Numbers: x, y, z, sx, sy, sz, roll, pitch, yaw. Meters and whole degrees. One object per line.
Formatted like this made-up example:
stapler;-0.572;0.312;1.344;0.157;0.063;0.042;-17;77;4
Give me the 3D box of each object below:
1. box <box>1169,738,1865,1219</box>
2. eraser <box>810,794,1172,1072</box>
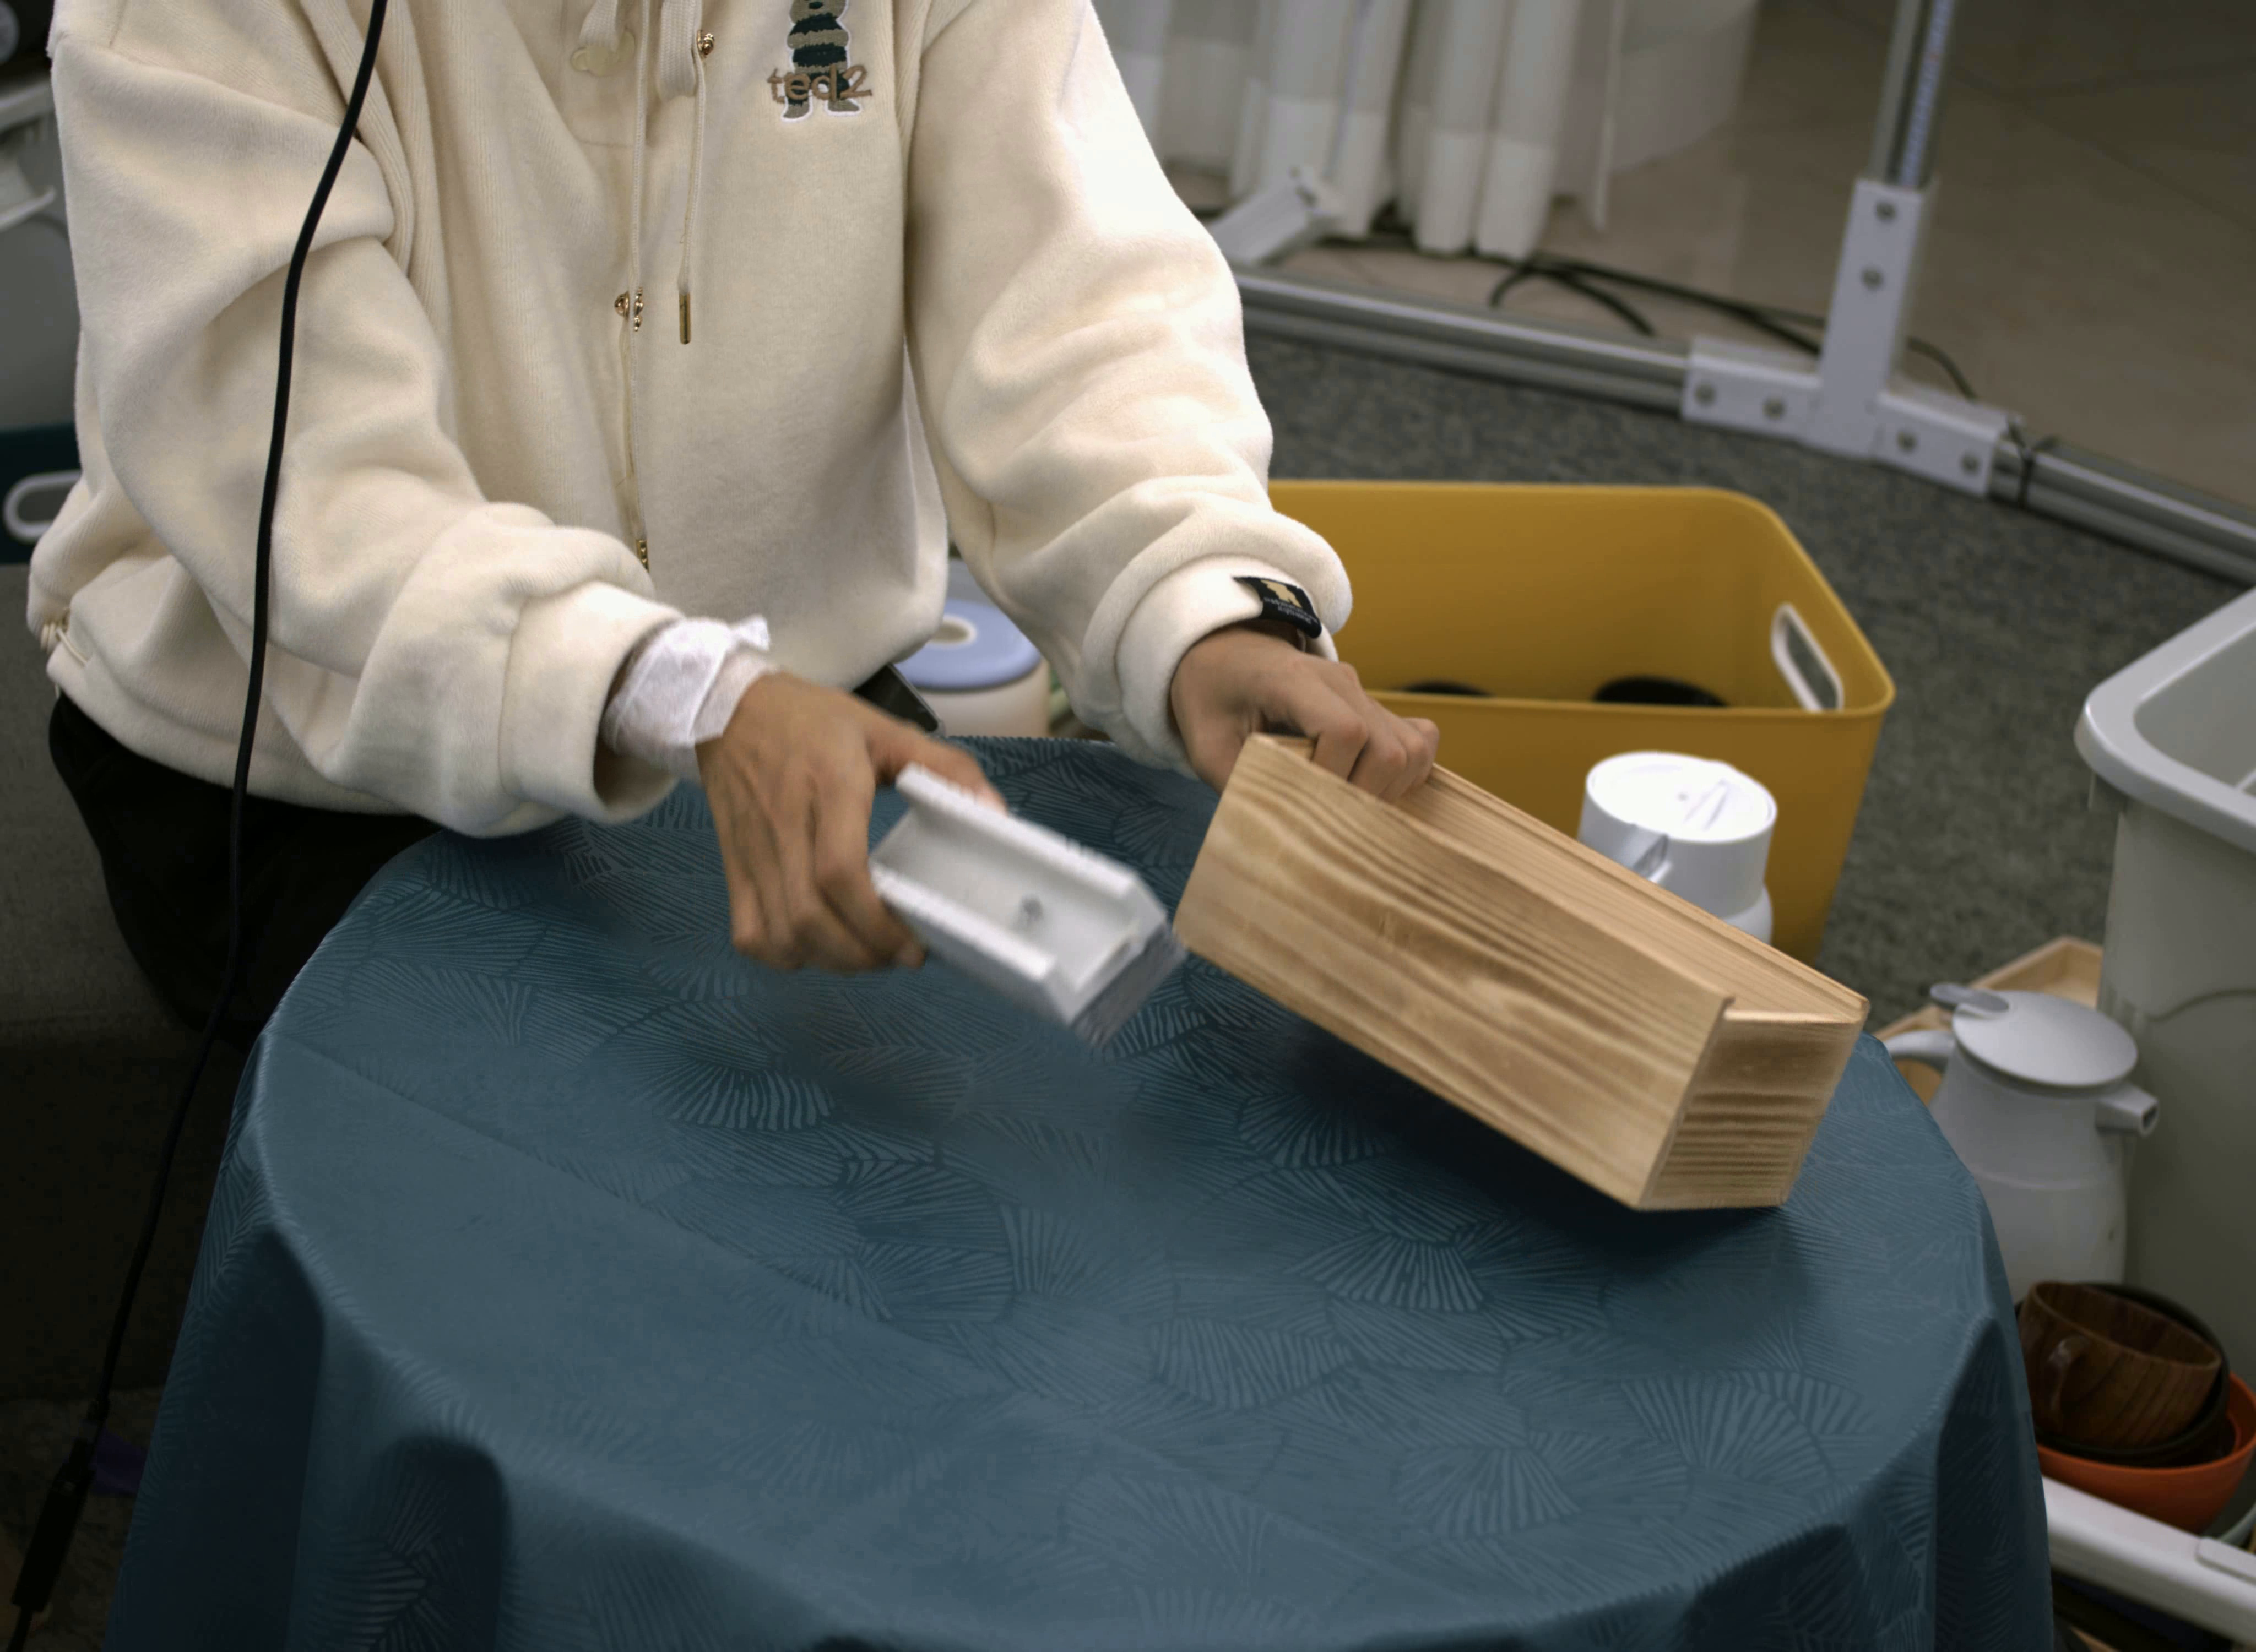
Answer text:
box;0.133;0.051;1.844;0.213;0.080;0.107;30;16;33
eraser;-0.046;0.036;1.798;0.050;0.046;0.135;-47;39;-16
